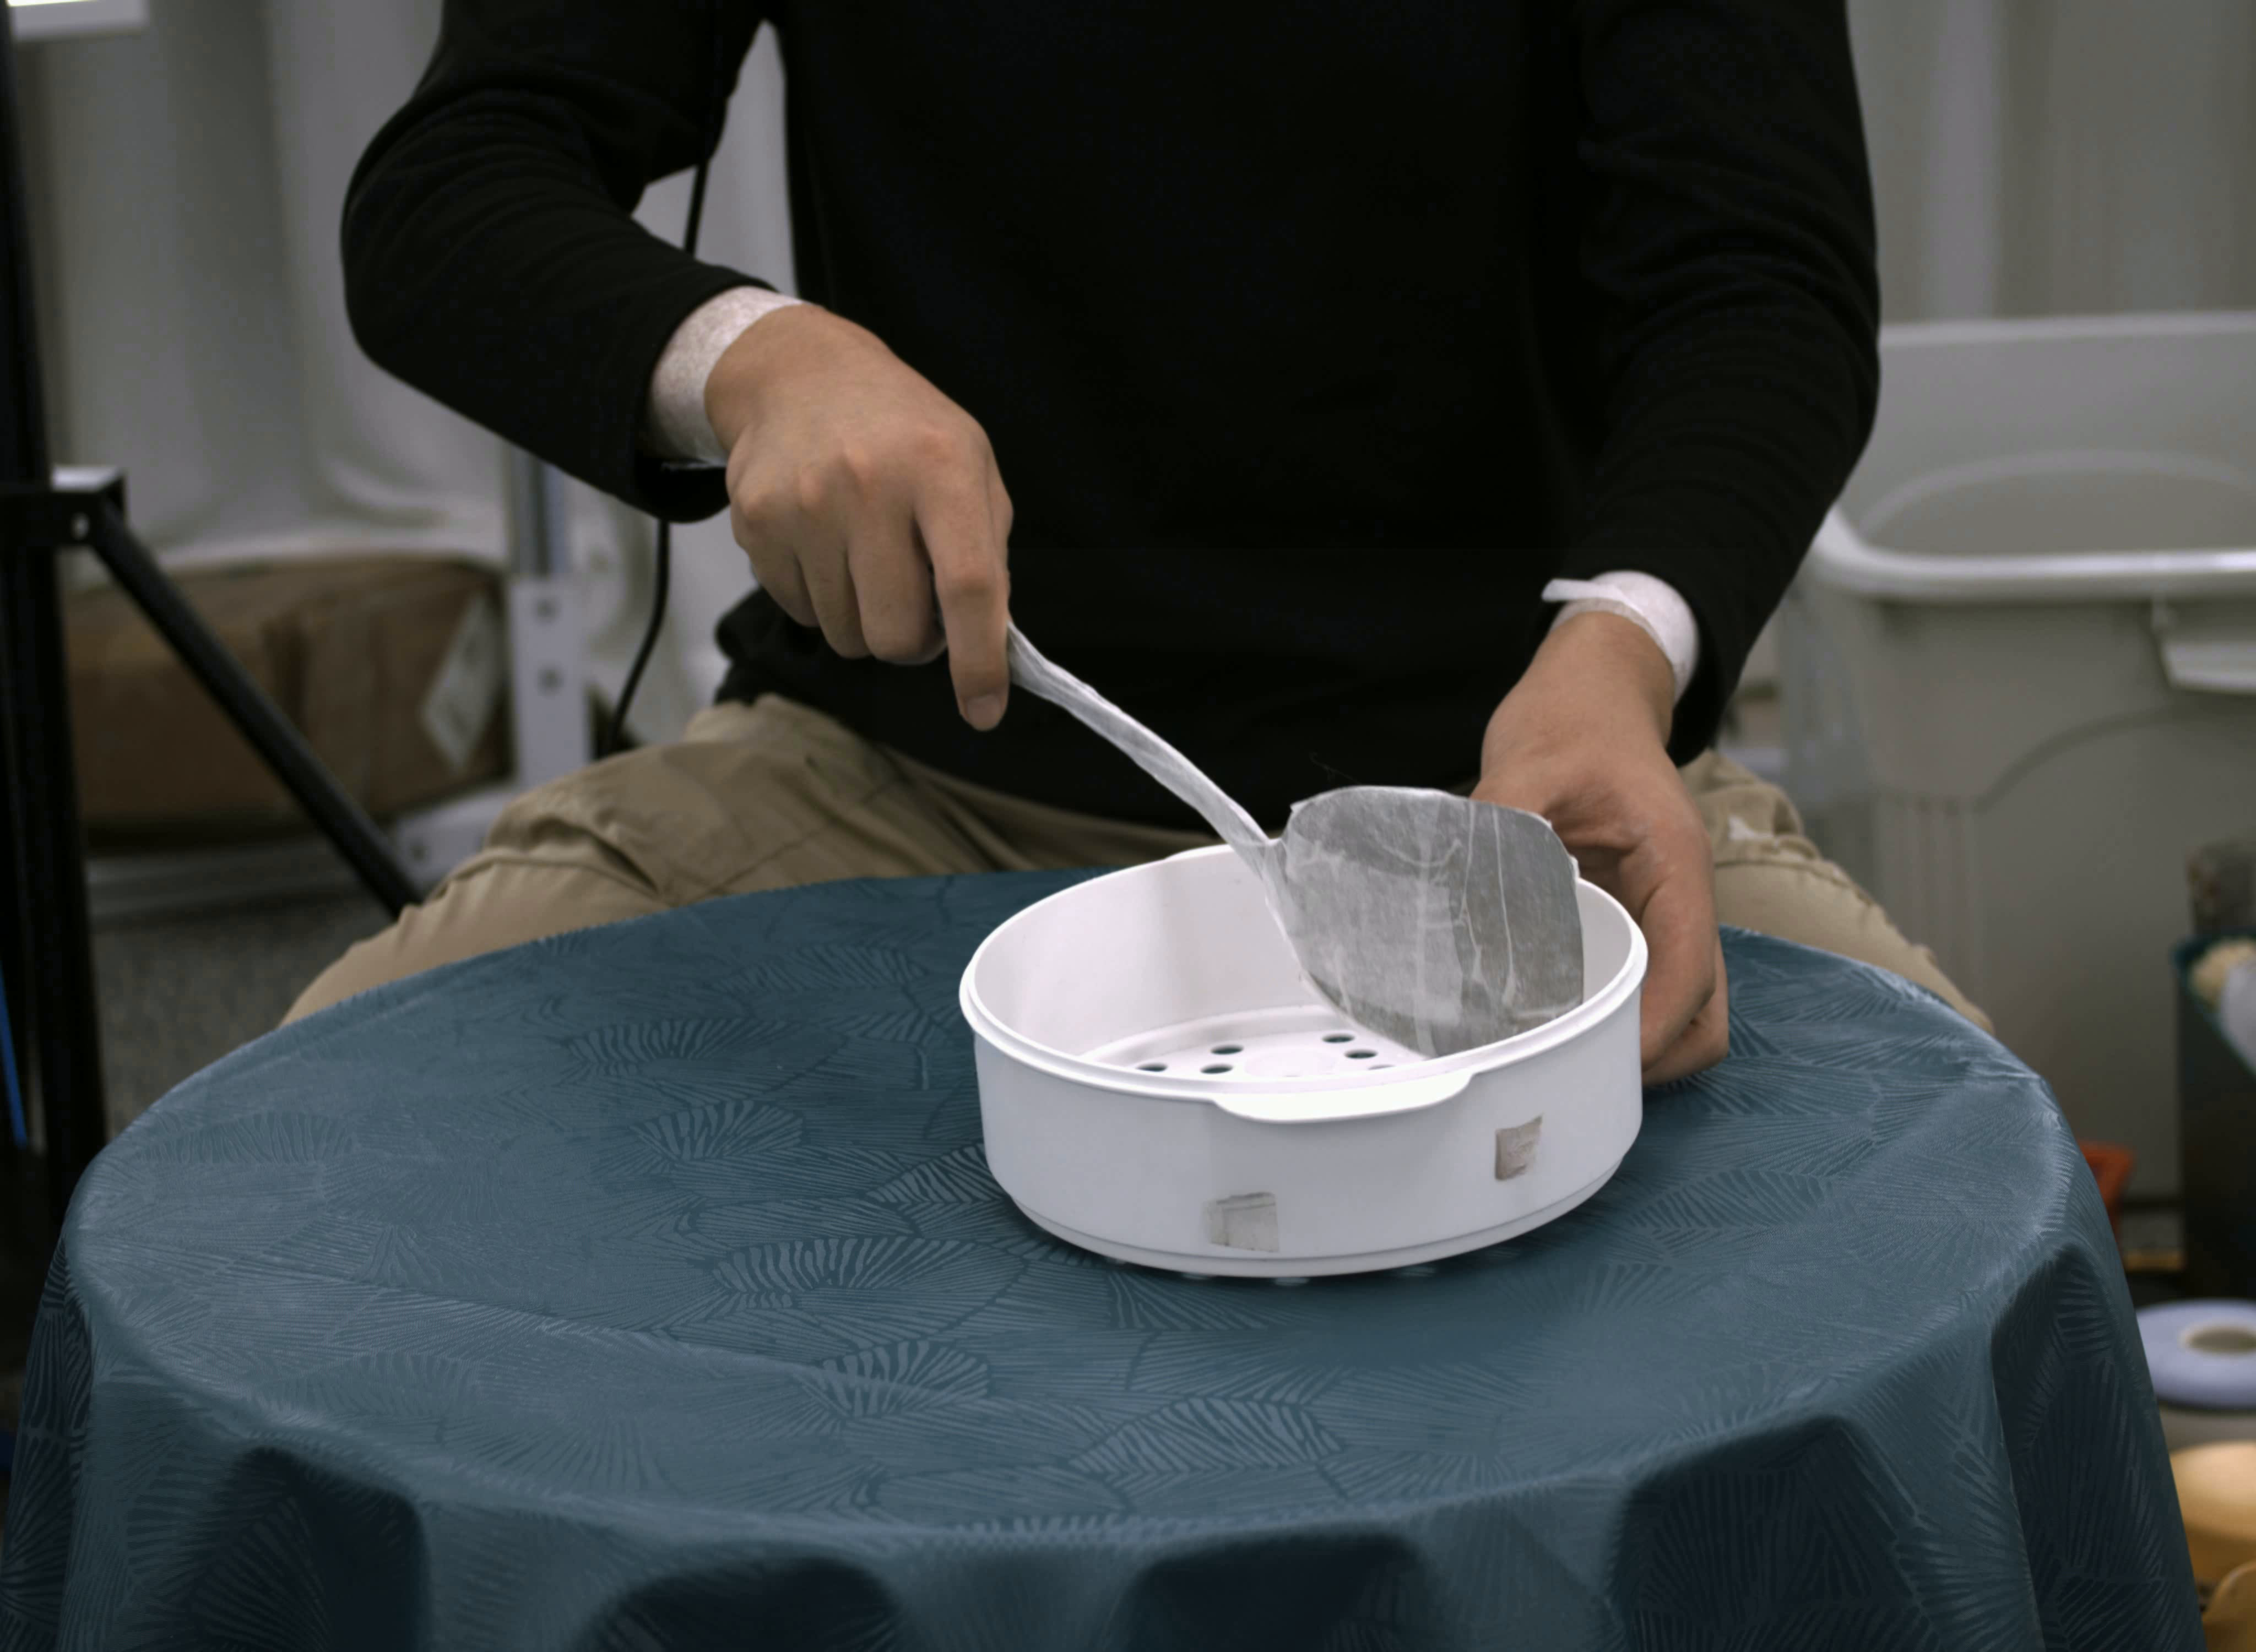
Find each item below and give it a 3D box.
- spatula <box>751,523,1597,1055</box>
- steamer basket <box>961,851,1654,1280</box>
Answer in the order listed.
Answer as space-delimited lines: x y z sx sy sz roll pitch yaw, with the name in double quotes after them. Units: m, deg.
0.005 -0.027 1.617 0.044 0.098 0.373 -27 40 -27 "spatula"
0.053 0.069 1.545 0.200 0.069 0.232 -4 18 -2 "steamer basket"
